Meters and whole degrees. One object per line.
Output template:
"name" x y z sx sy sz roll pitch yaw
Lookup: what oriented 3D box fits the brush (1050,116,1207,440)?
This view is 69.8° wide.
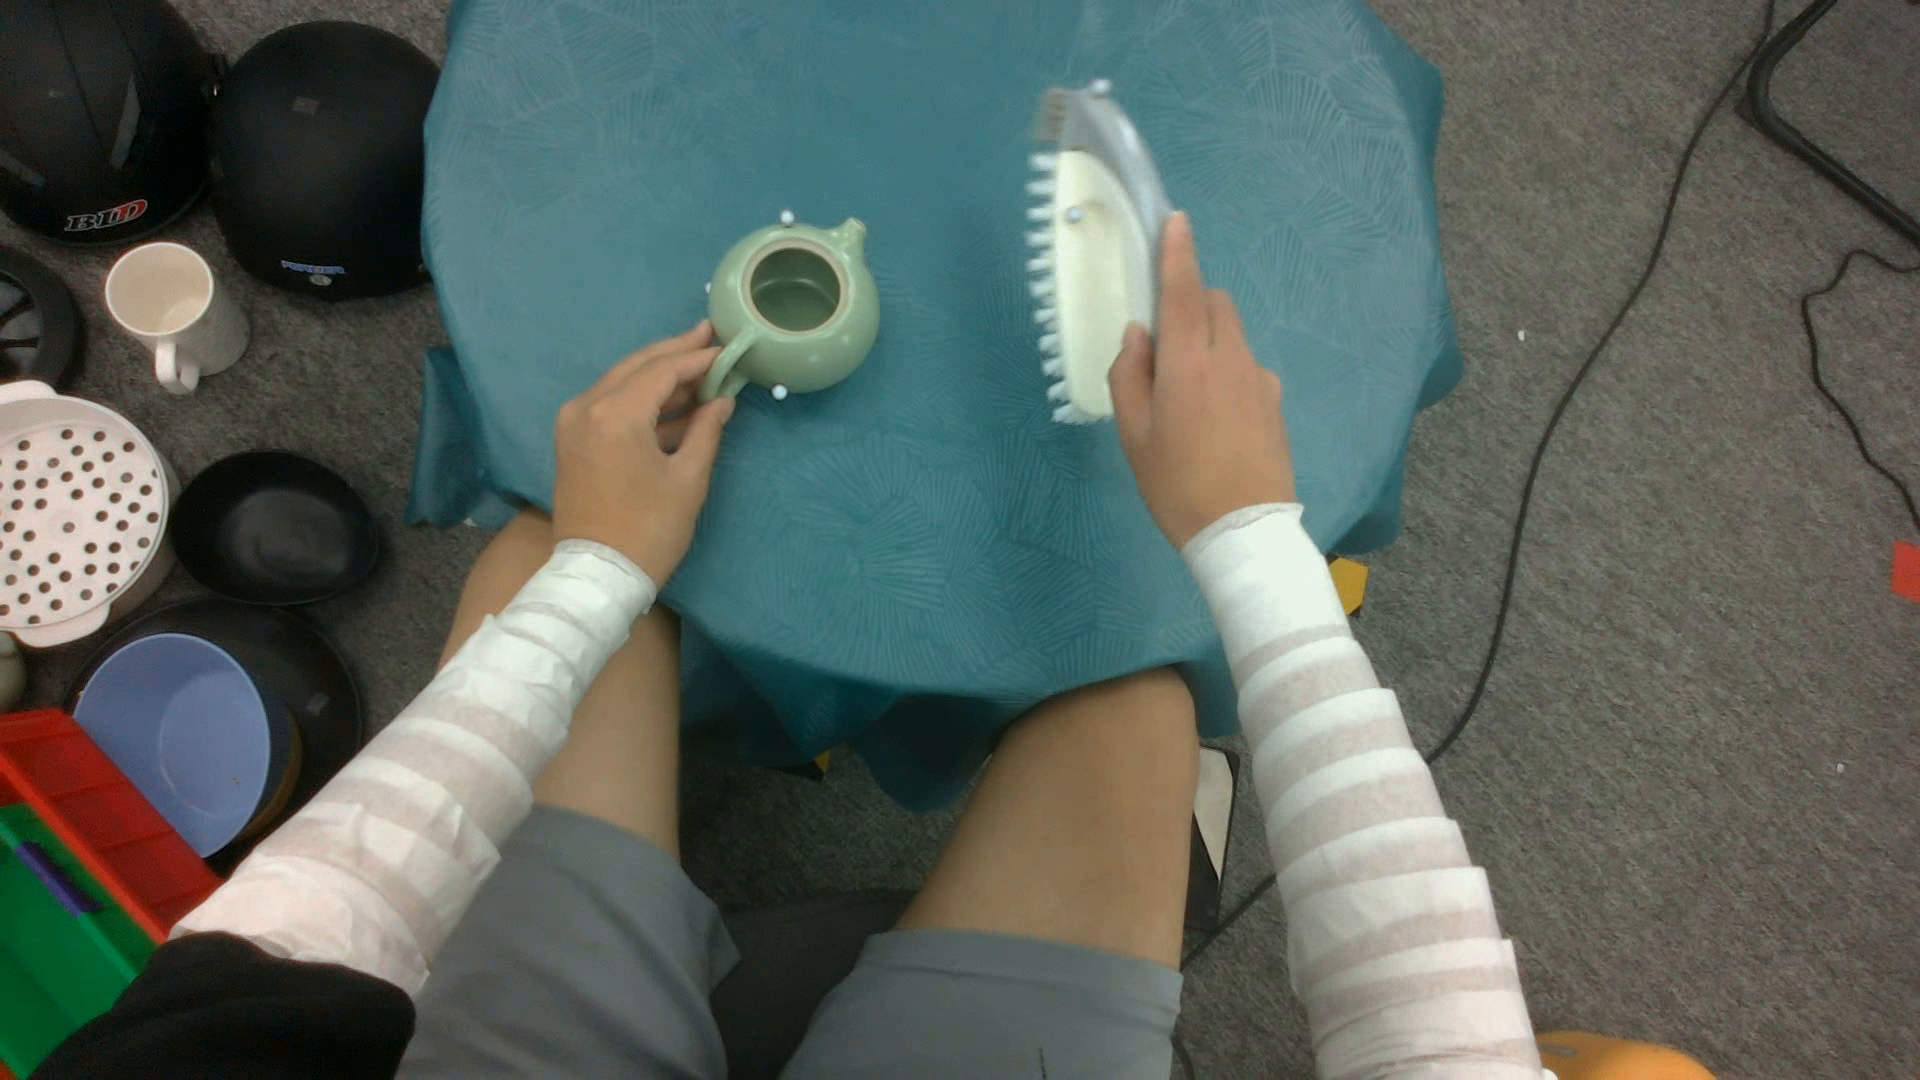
"brush" 0.092 -0.145 0.726 0.061 0.094 0.175 0 86 -26

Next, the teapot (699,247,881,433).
"teapot" -0.095 -0.105 0.751 0.091 0.061 0.129 42 73 2
